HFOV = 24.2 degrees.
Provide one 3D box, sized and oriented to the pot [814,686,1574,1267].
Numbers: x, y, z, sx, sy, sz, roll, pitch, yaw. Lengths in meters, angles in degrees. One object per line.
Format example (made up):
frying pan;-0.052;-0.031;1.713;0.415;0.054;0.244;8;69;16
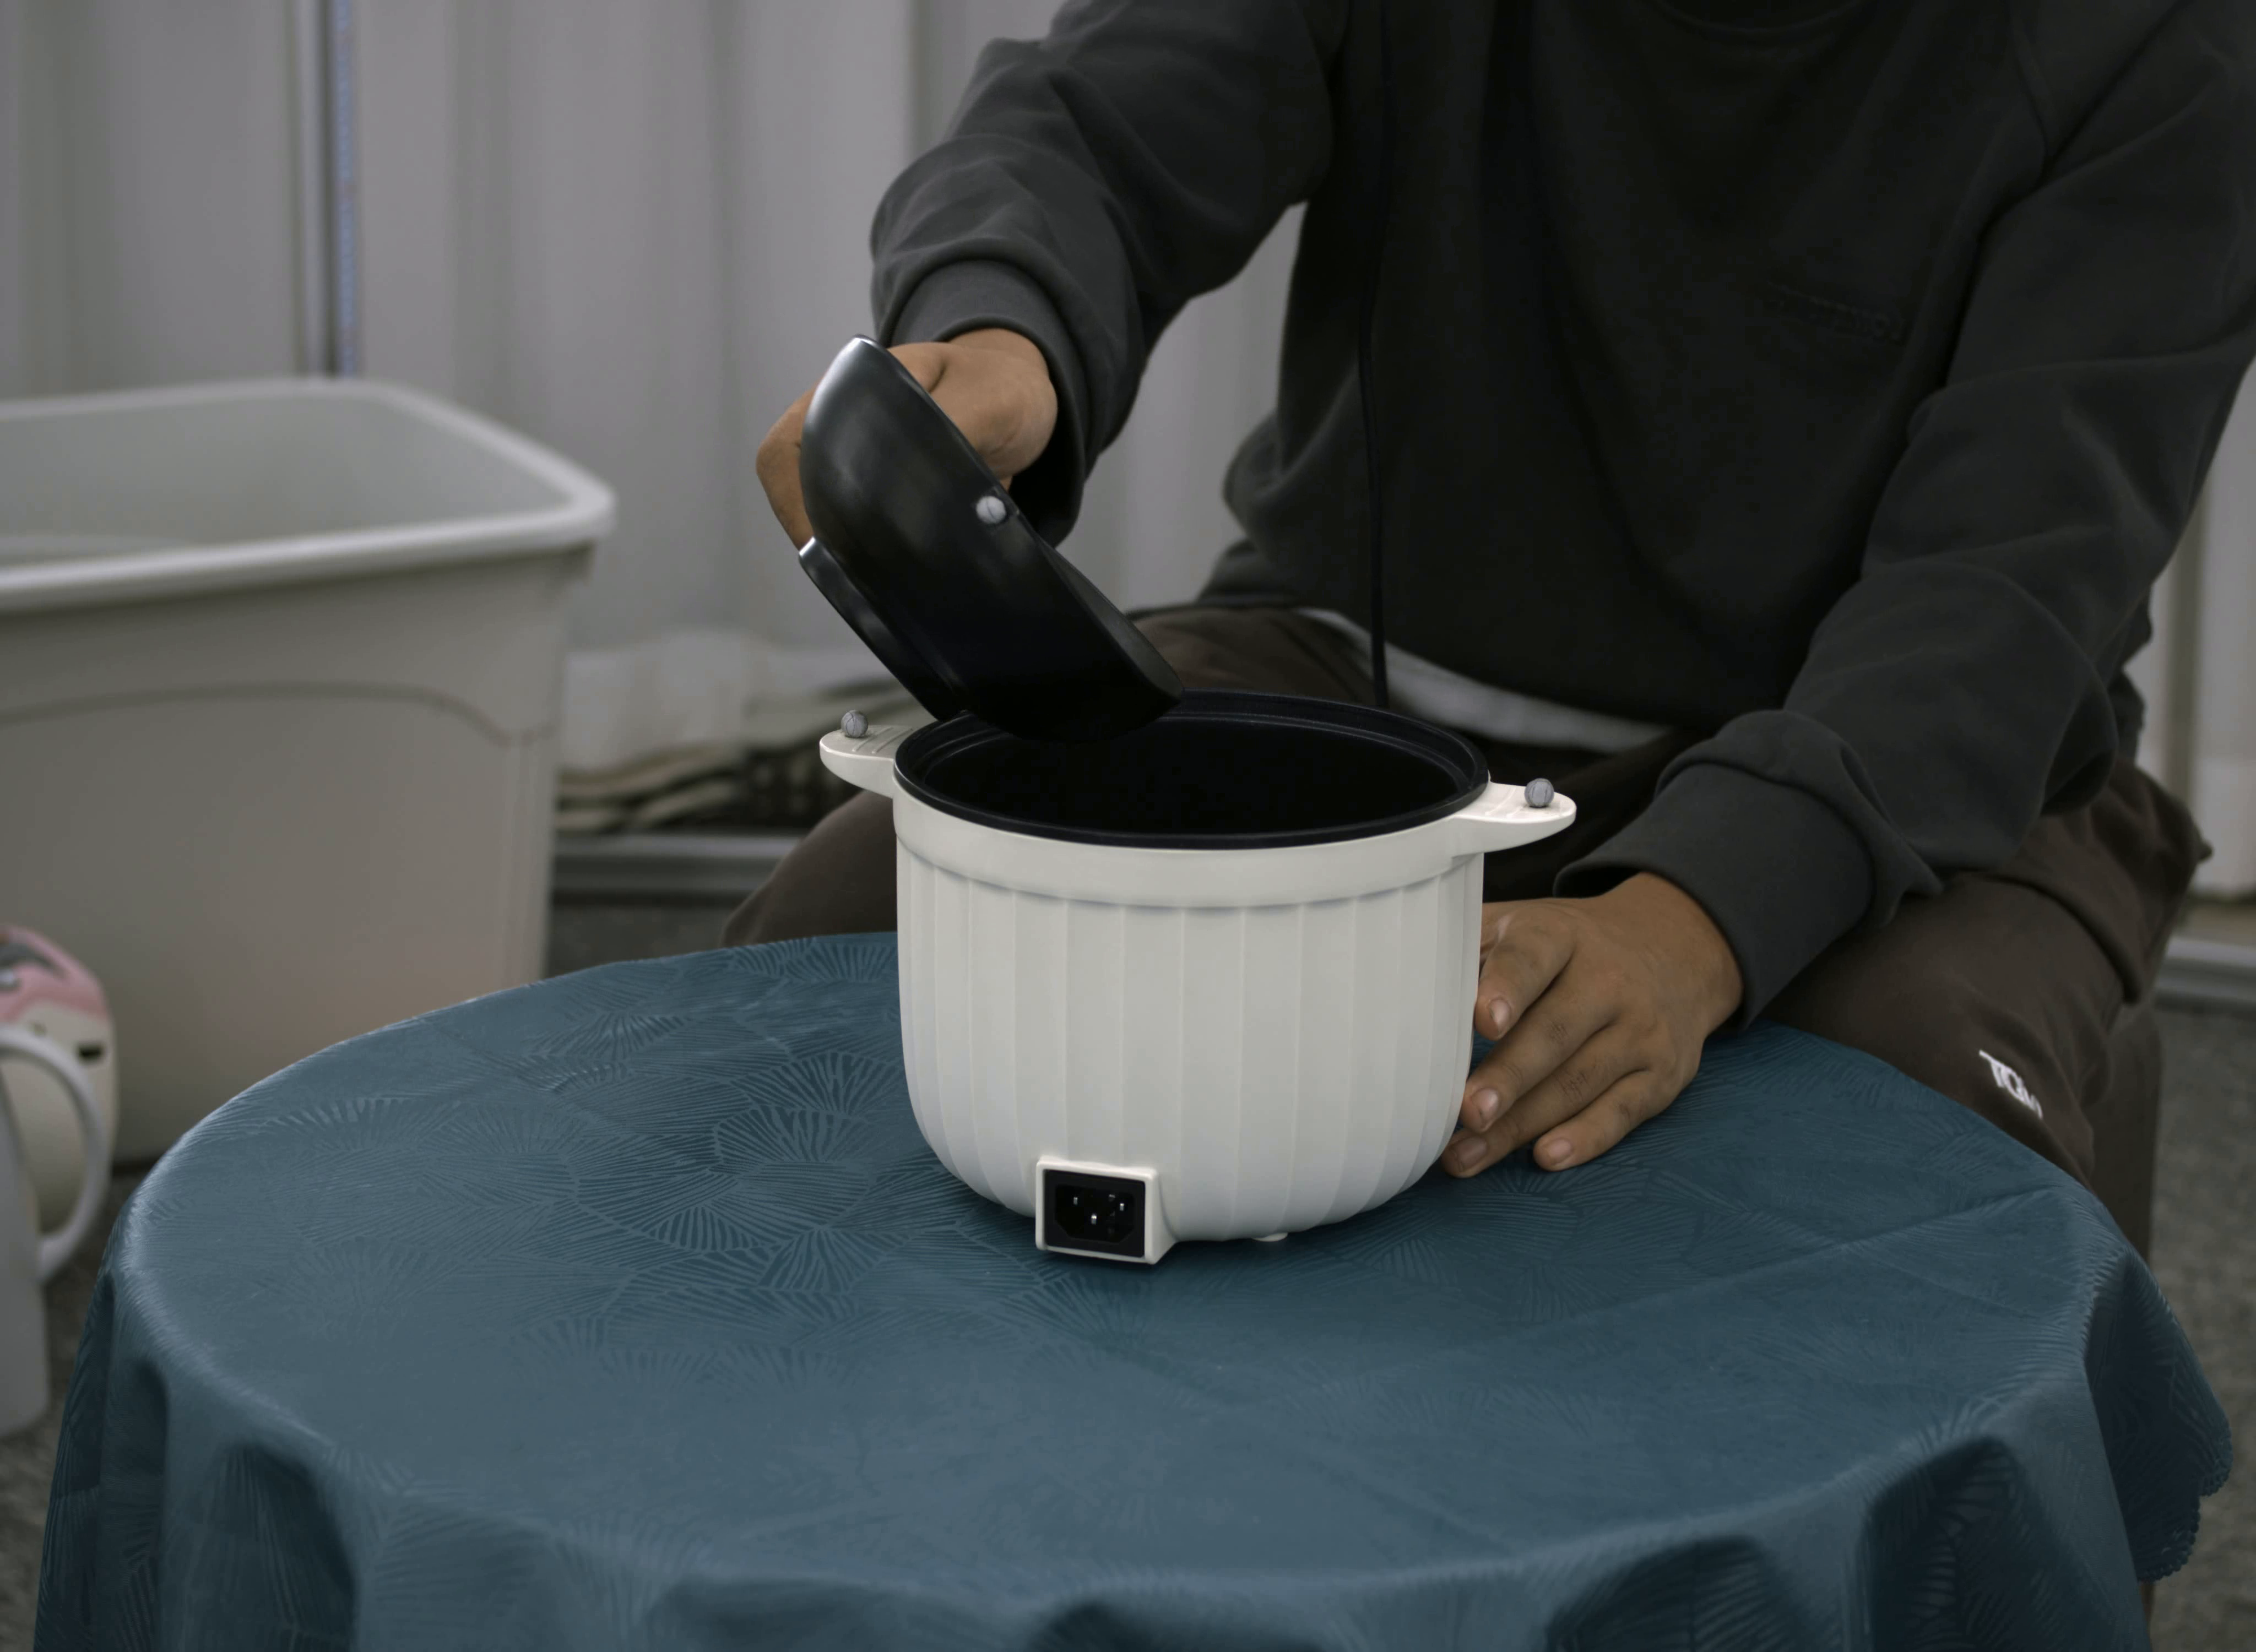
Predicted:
pot;0.018;0.042;1.622;0.238;0.144;0.190;7;20;16

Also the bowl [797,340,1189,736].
bowl;-0.055;-0.078;1.600;0.066;0.139;0.168;-42;44;1
